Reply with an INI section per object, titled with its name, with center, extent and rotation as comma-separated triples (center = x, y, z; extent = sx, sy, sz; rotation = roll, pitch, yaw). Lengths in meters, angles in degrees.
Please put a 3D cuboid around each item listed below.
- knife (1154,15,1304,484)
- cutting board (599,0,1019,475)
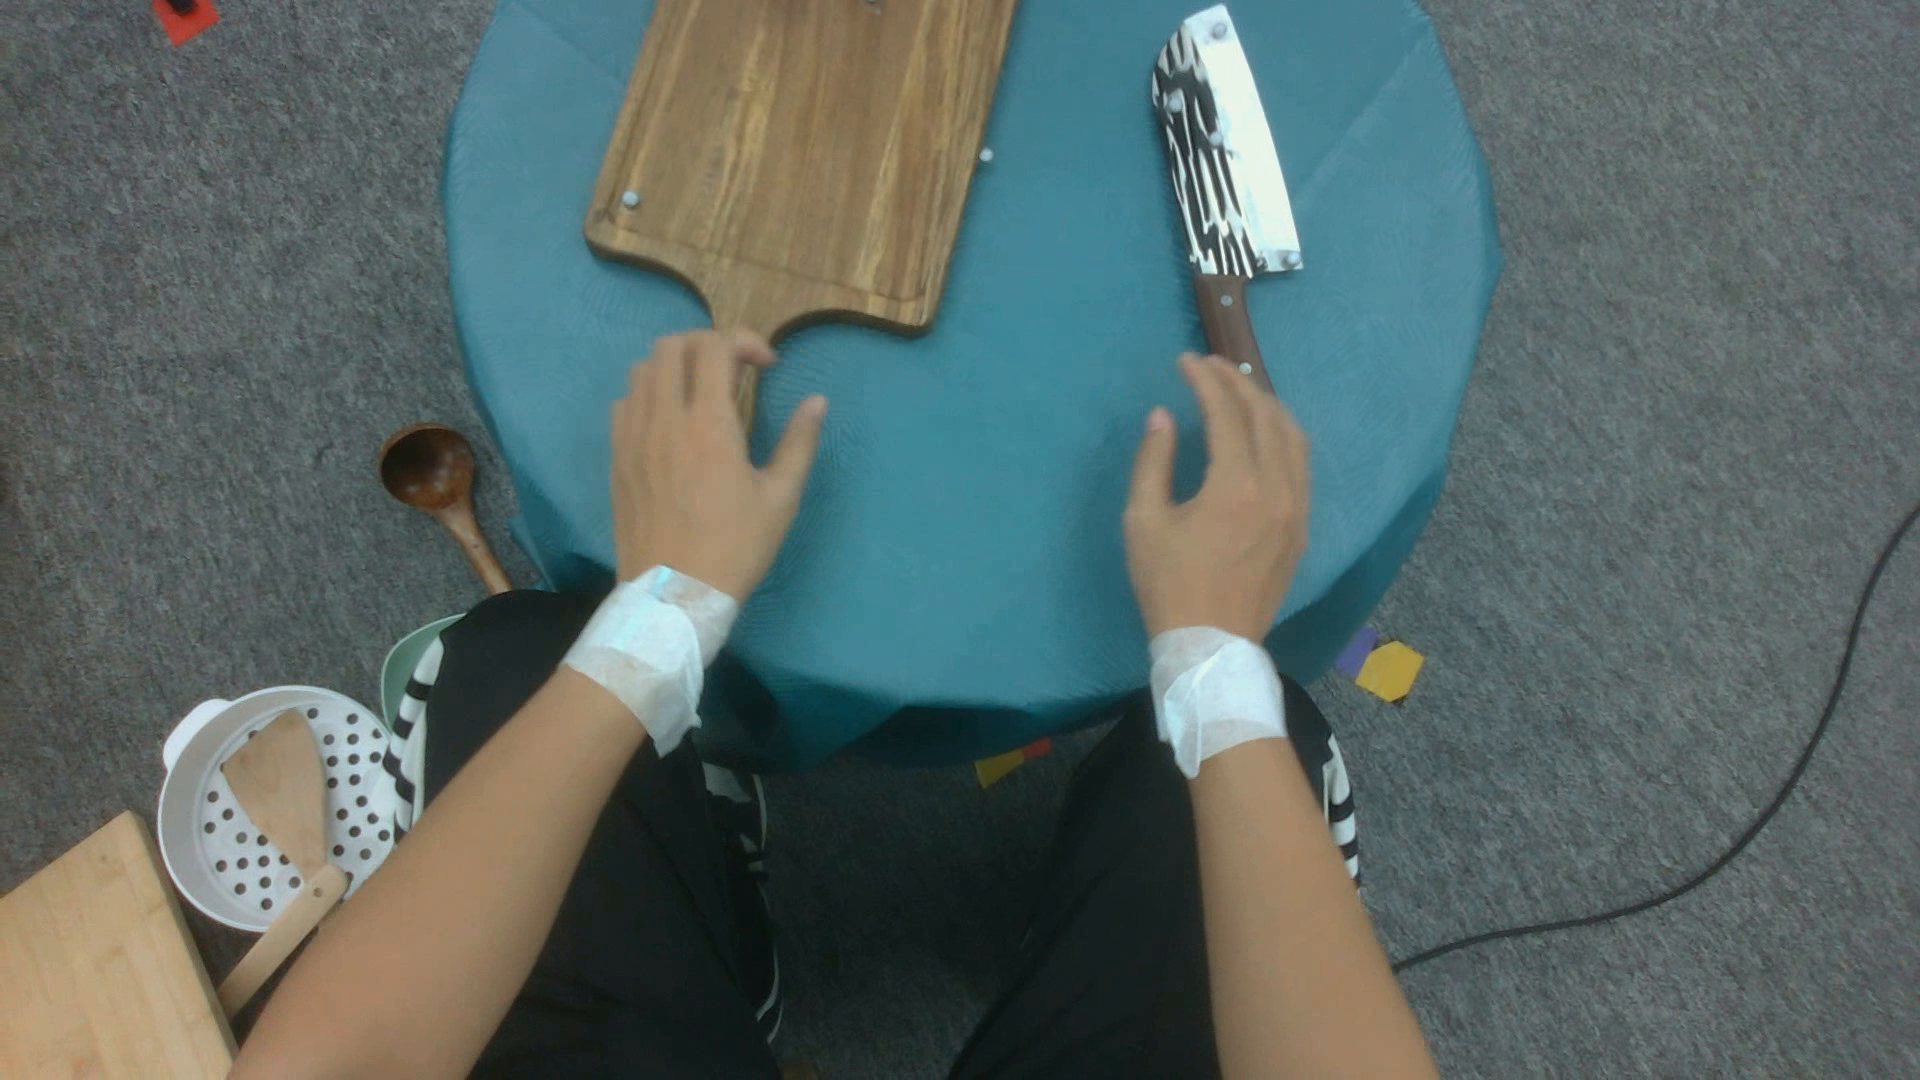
[knife]
center = 0.162, -0.177, 0.801
extent = 0.068, 0.024, 0.300
rotation = -7, 74, -8
[cutting board]
center = -0.092, -0.205, 0.789
extent = 0.201, 0.023, 0.353
rotation = 13, 76, 0
